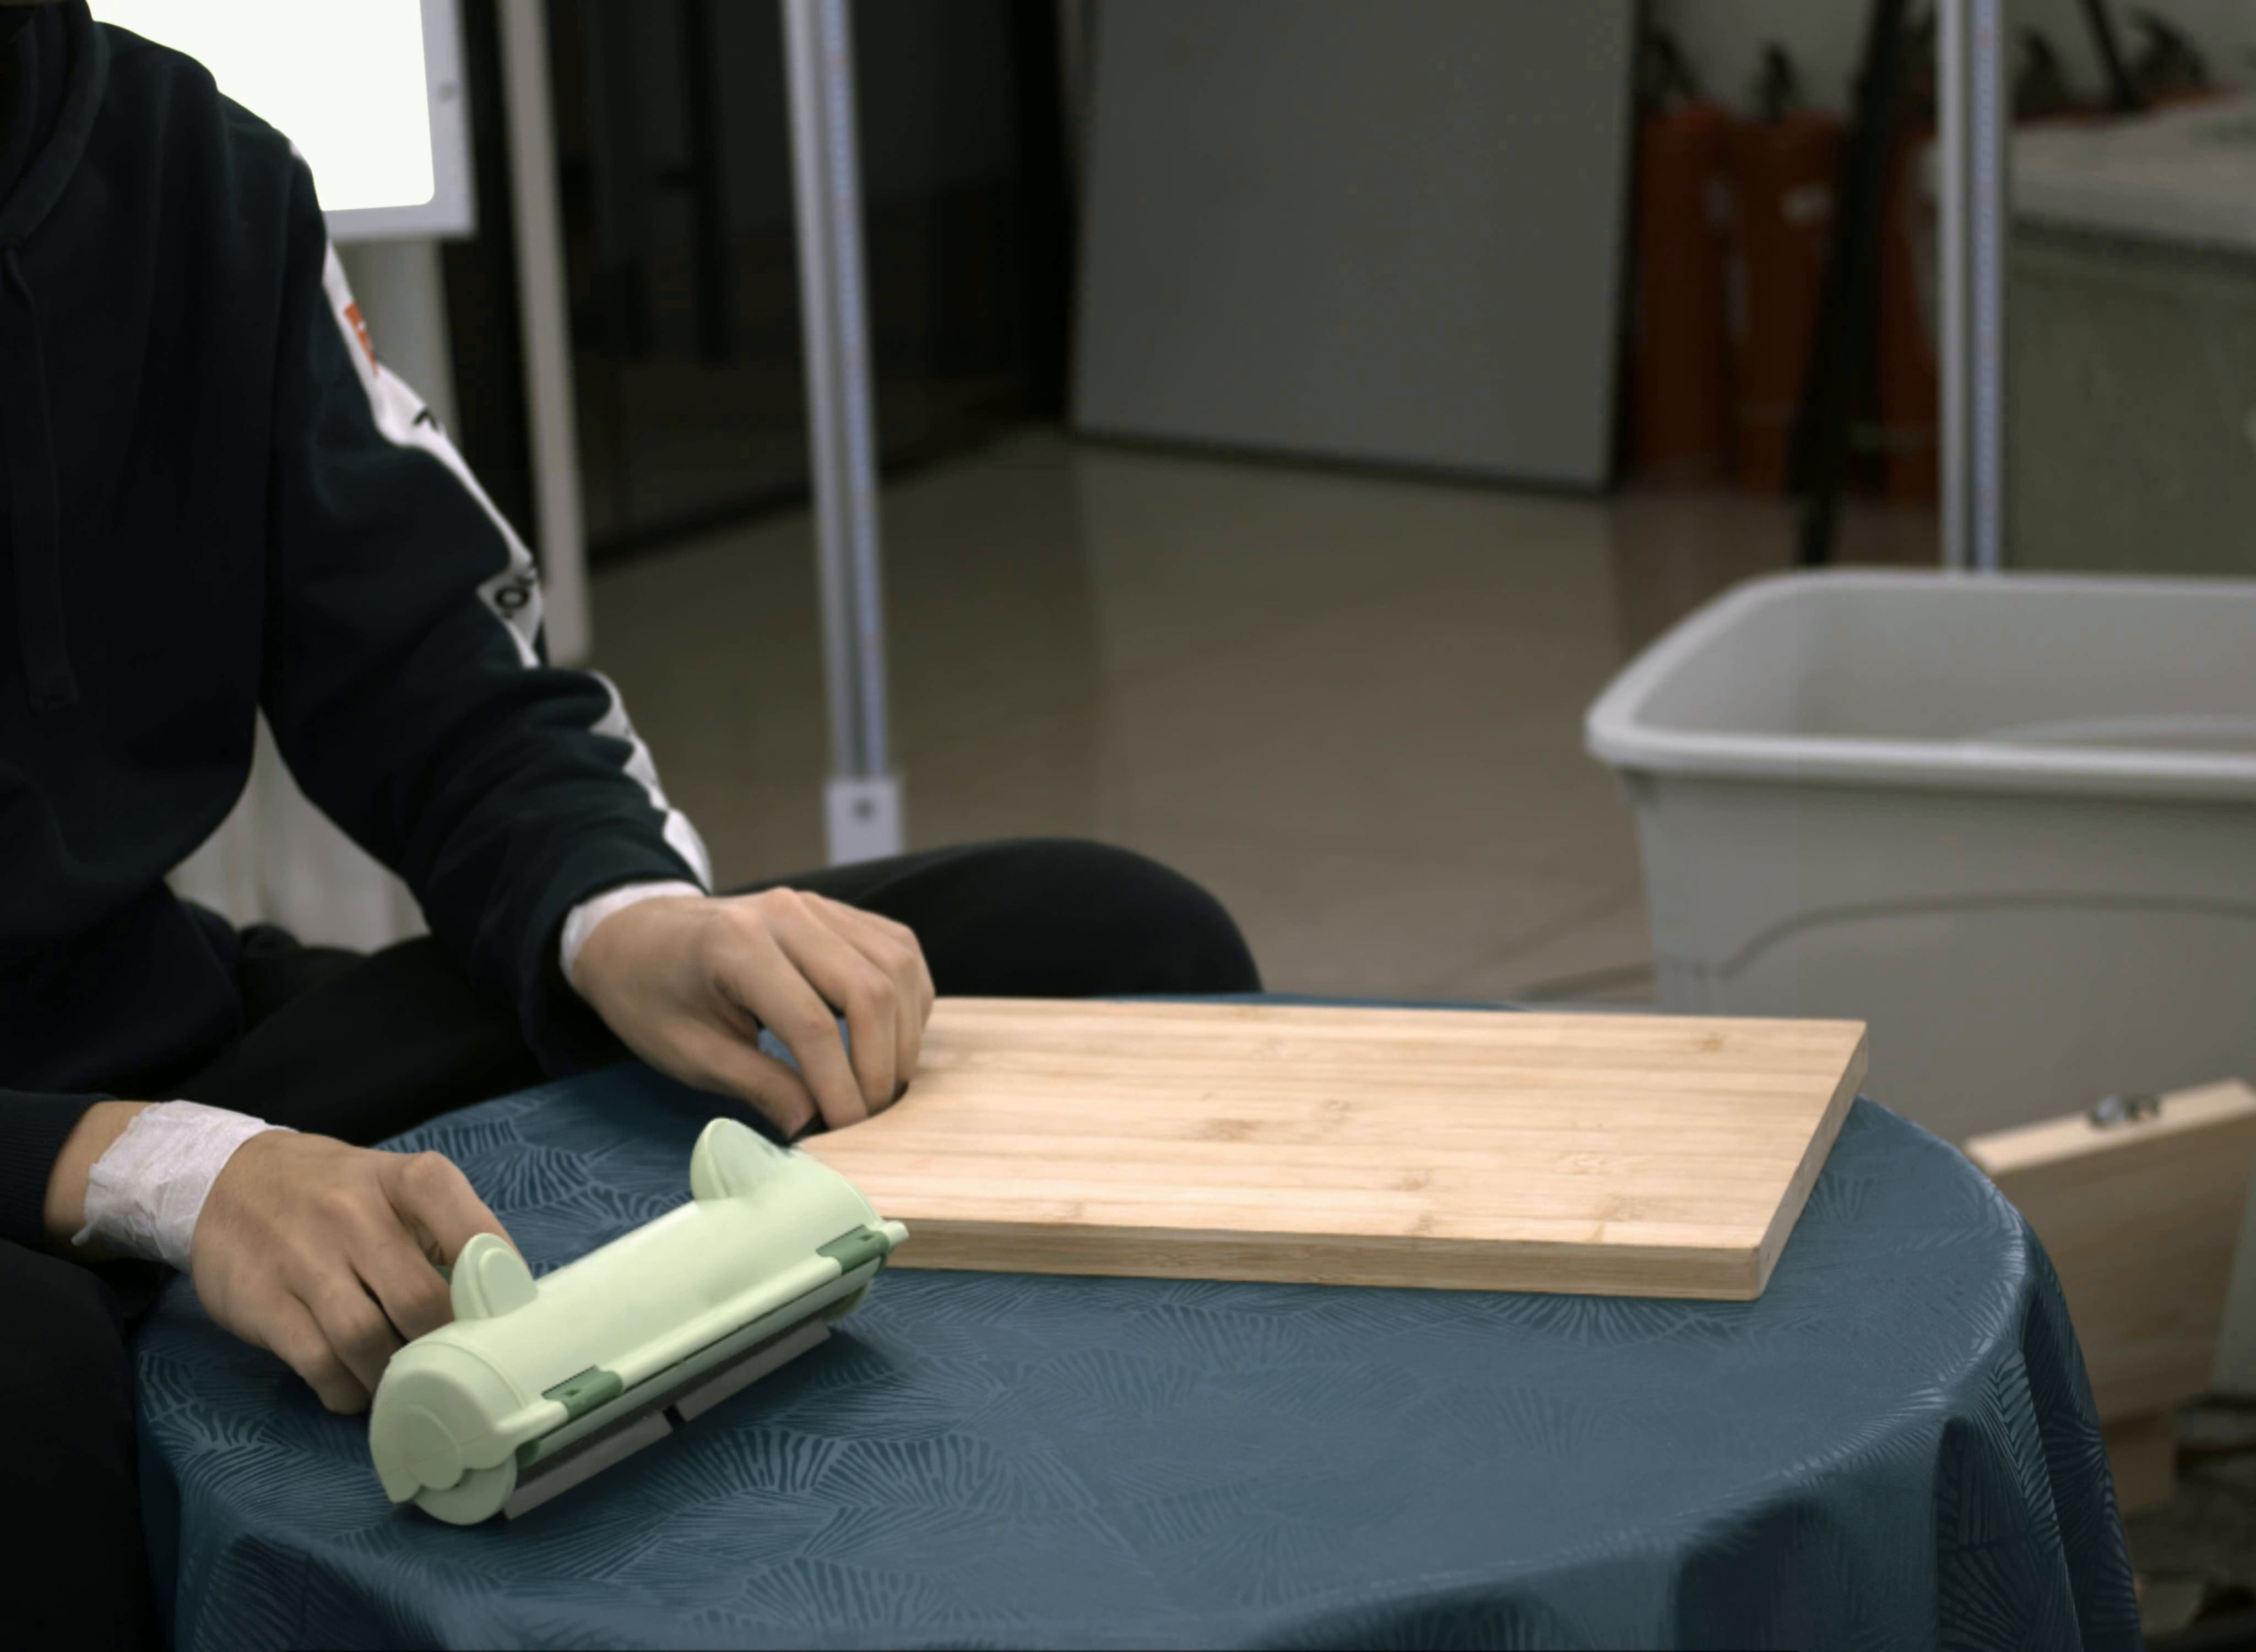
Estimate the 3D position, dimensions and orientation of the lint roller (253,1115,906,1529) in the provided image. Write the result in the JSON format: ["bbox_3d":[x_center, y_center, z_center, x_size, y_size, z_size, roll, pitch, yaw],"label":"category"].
[{"bbox_3d":[-0.190,0.134,1.610,0.184,0.083,0.195,10,19,32],"label":"lint roller"}]

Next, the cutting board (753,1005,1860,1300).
[{"bbox_3d":[0.057,0.105,1.788,0.347,0.024,0.249,0,14,16],"label":"cutting board"}]
